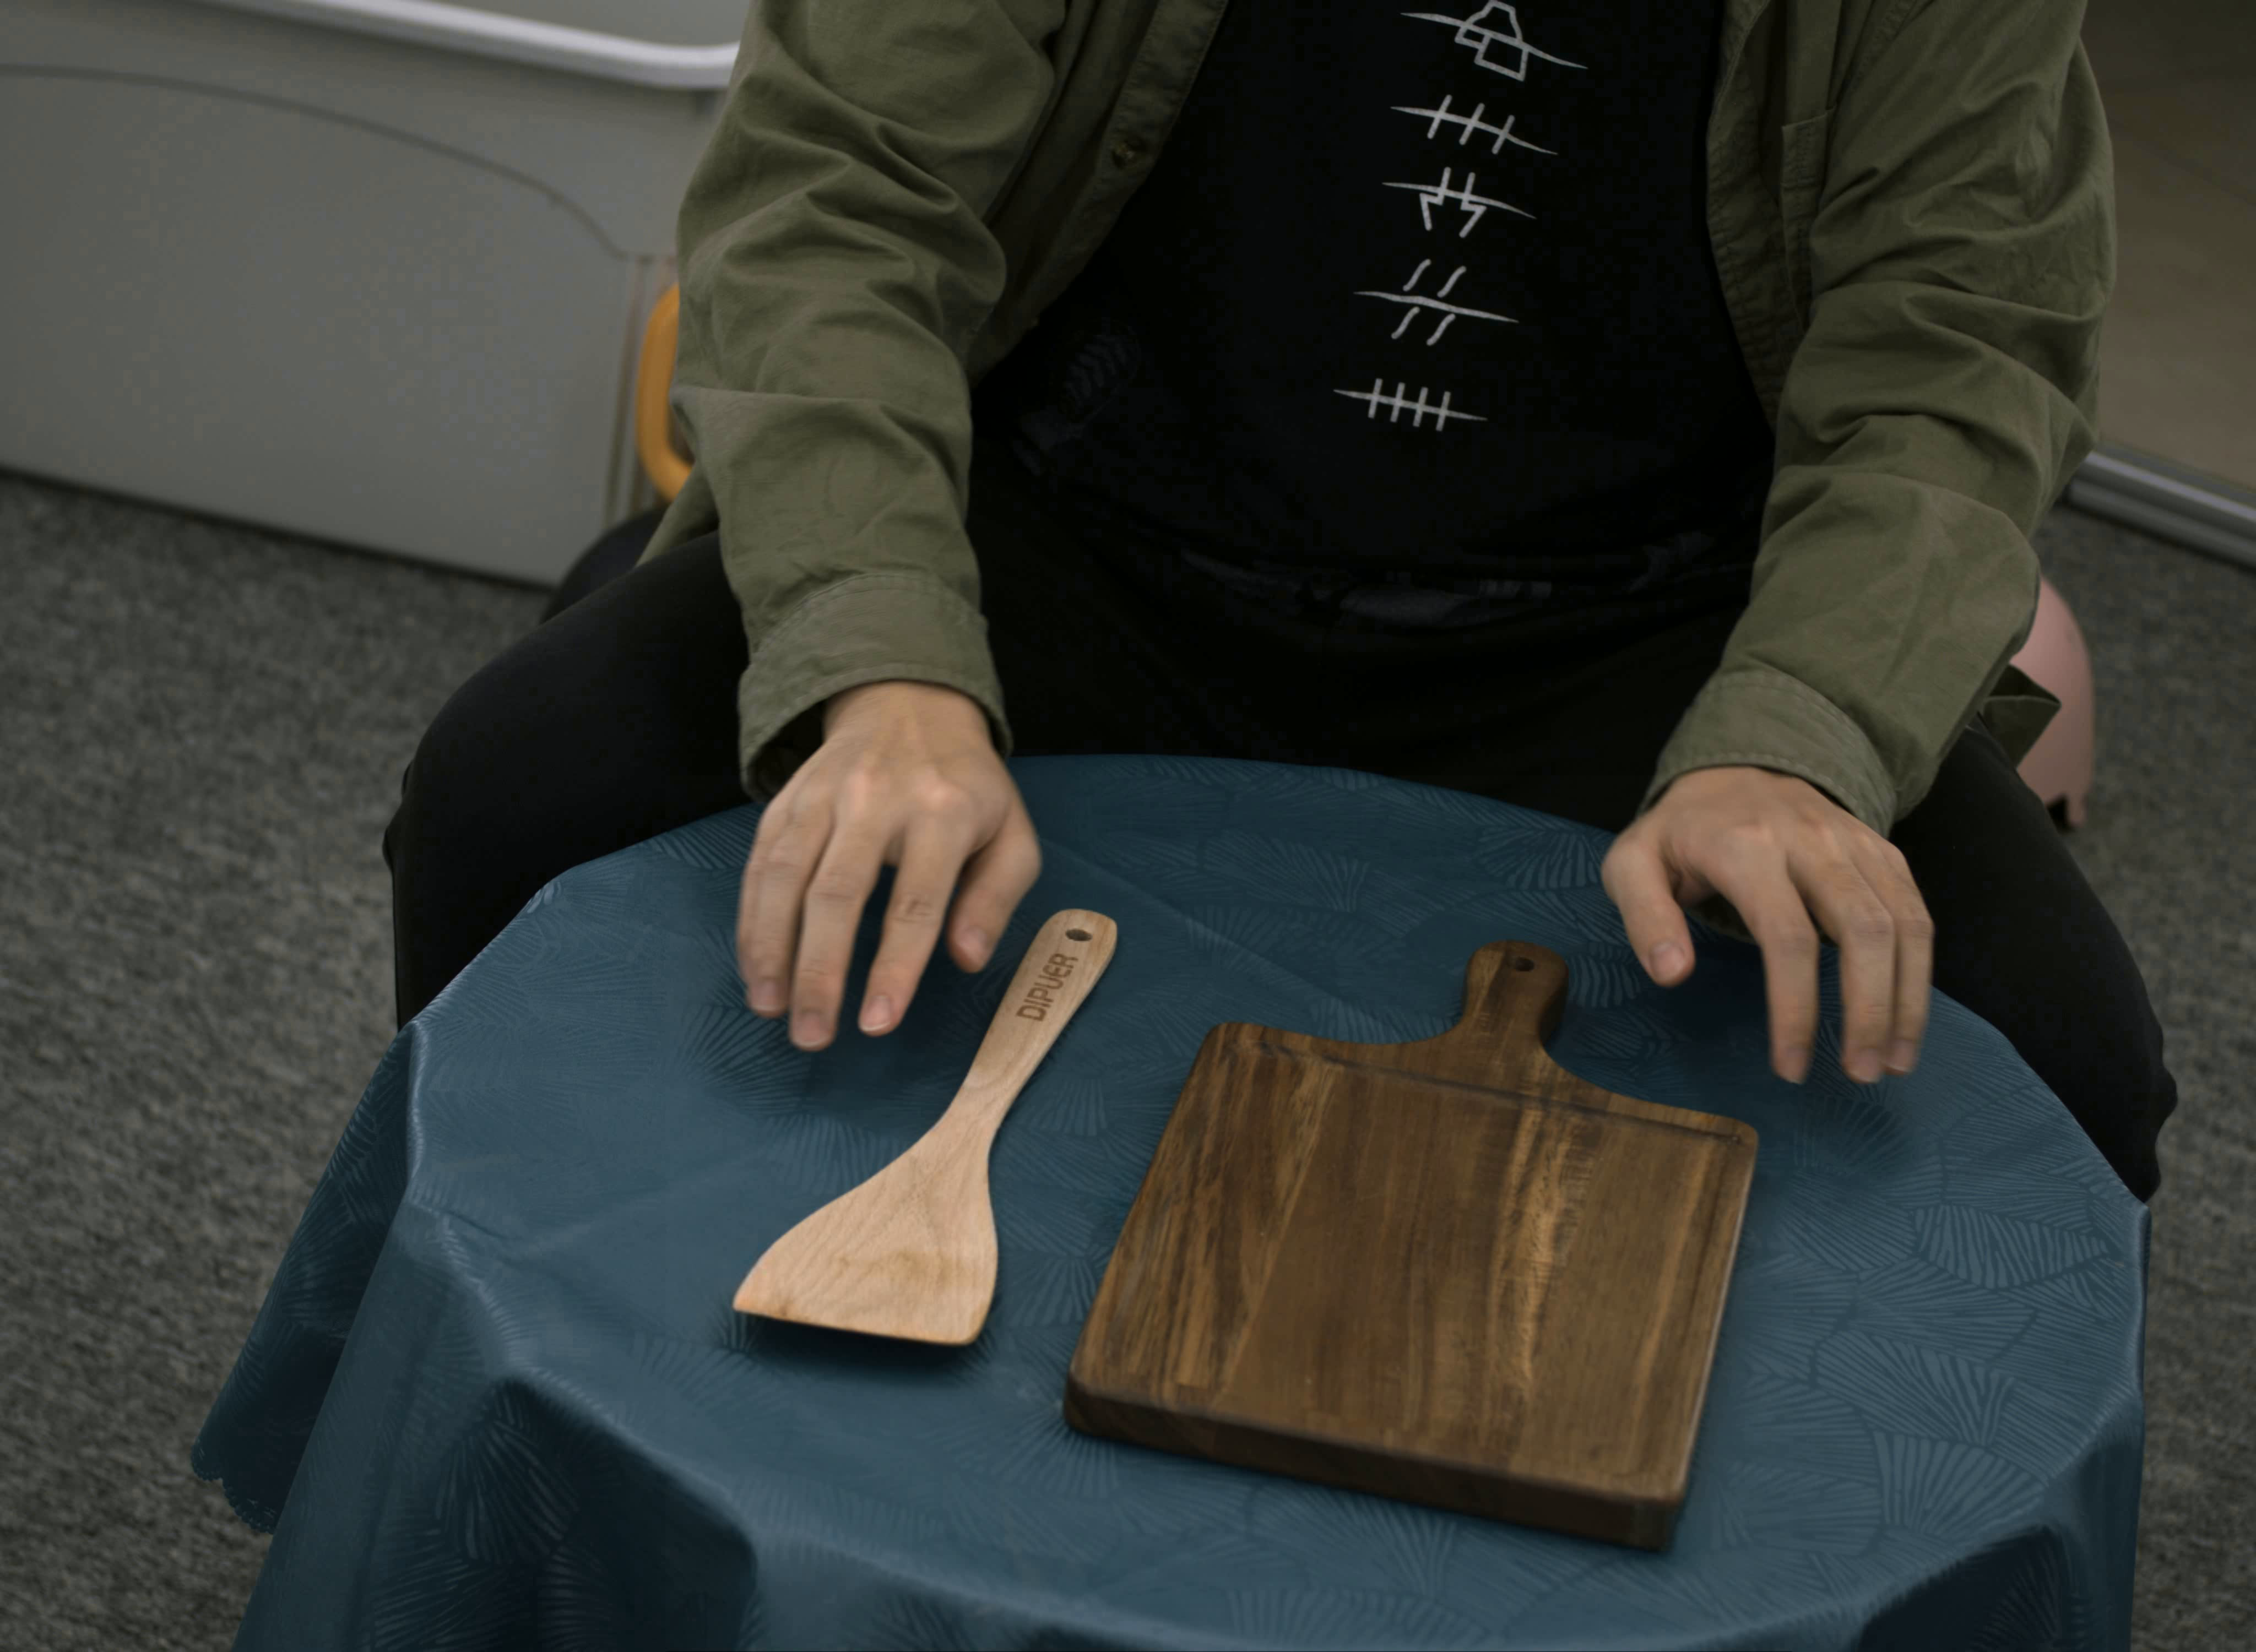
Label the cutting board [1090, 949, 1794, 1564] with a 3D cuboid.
[{"bbox_3d":[0.120,0.128,1.792,0.201,0.023,0.353,11,27,9],"label":"cutting board"}]

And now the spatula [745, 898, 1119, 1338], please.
[{"bbox_3d":[-0.050,0.095,1.826,0.080,0.016,0.328,11,27,9],"label":"spatula"}]
